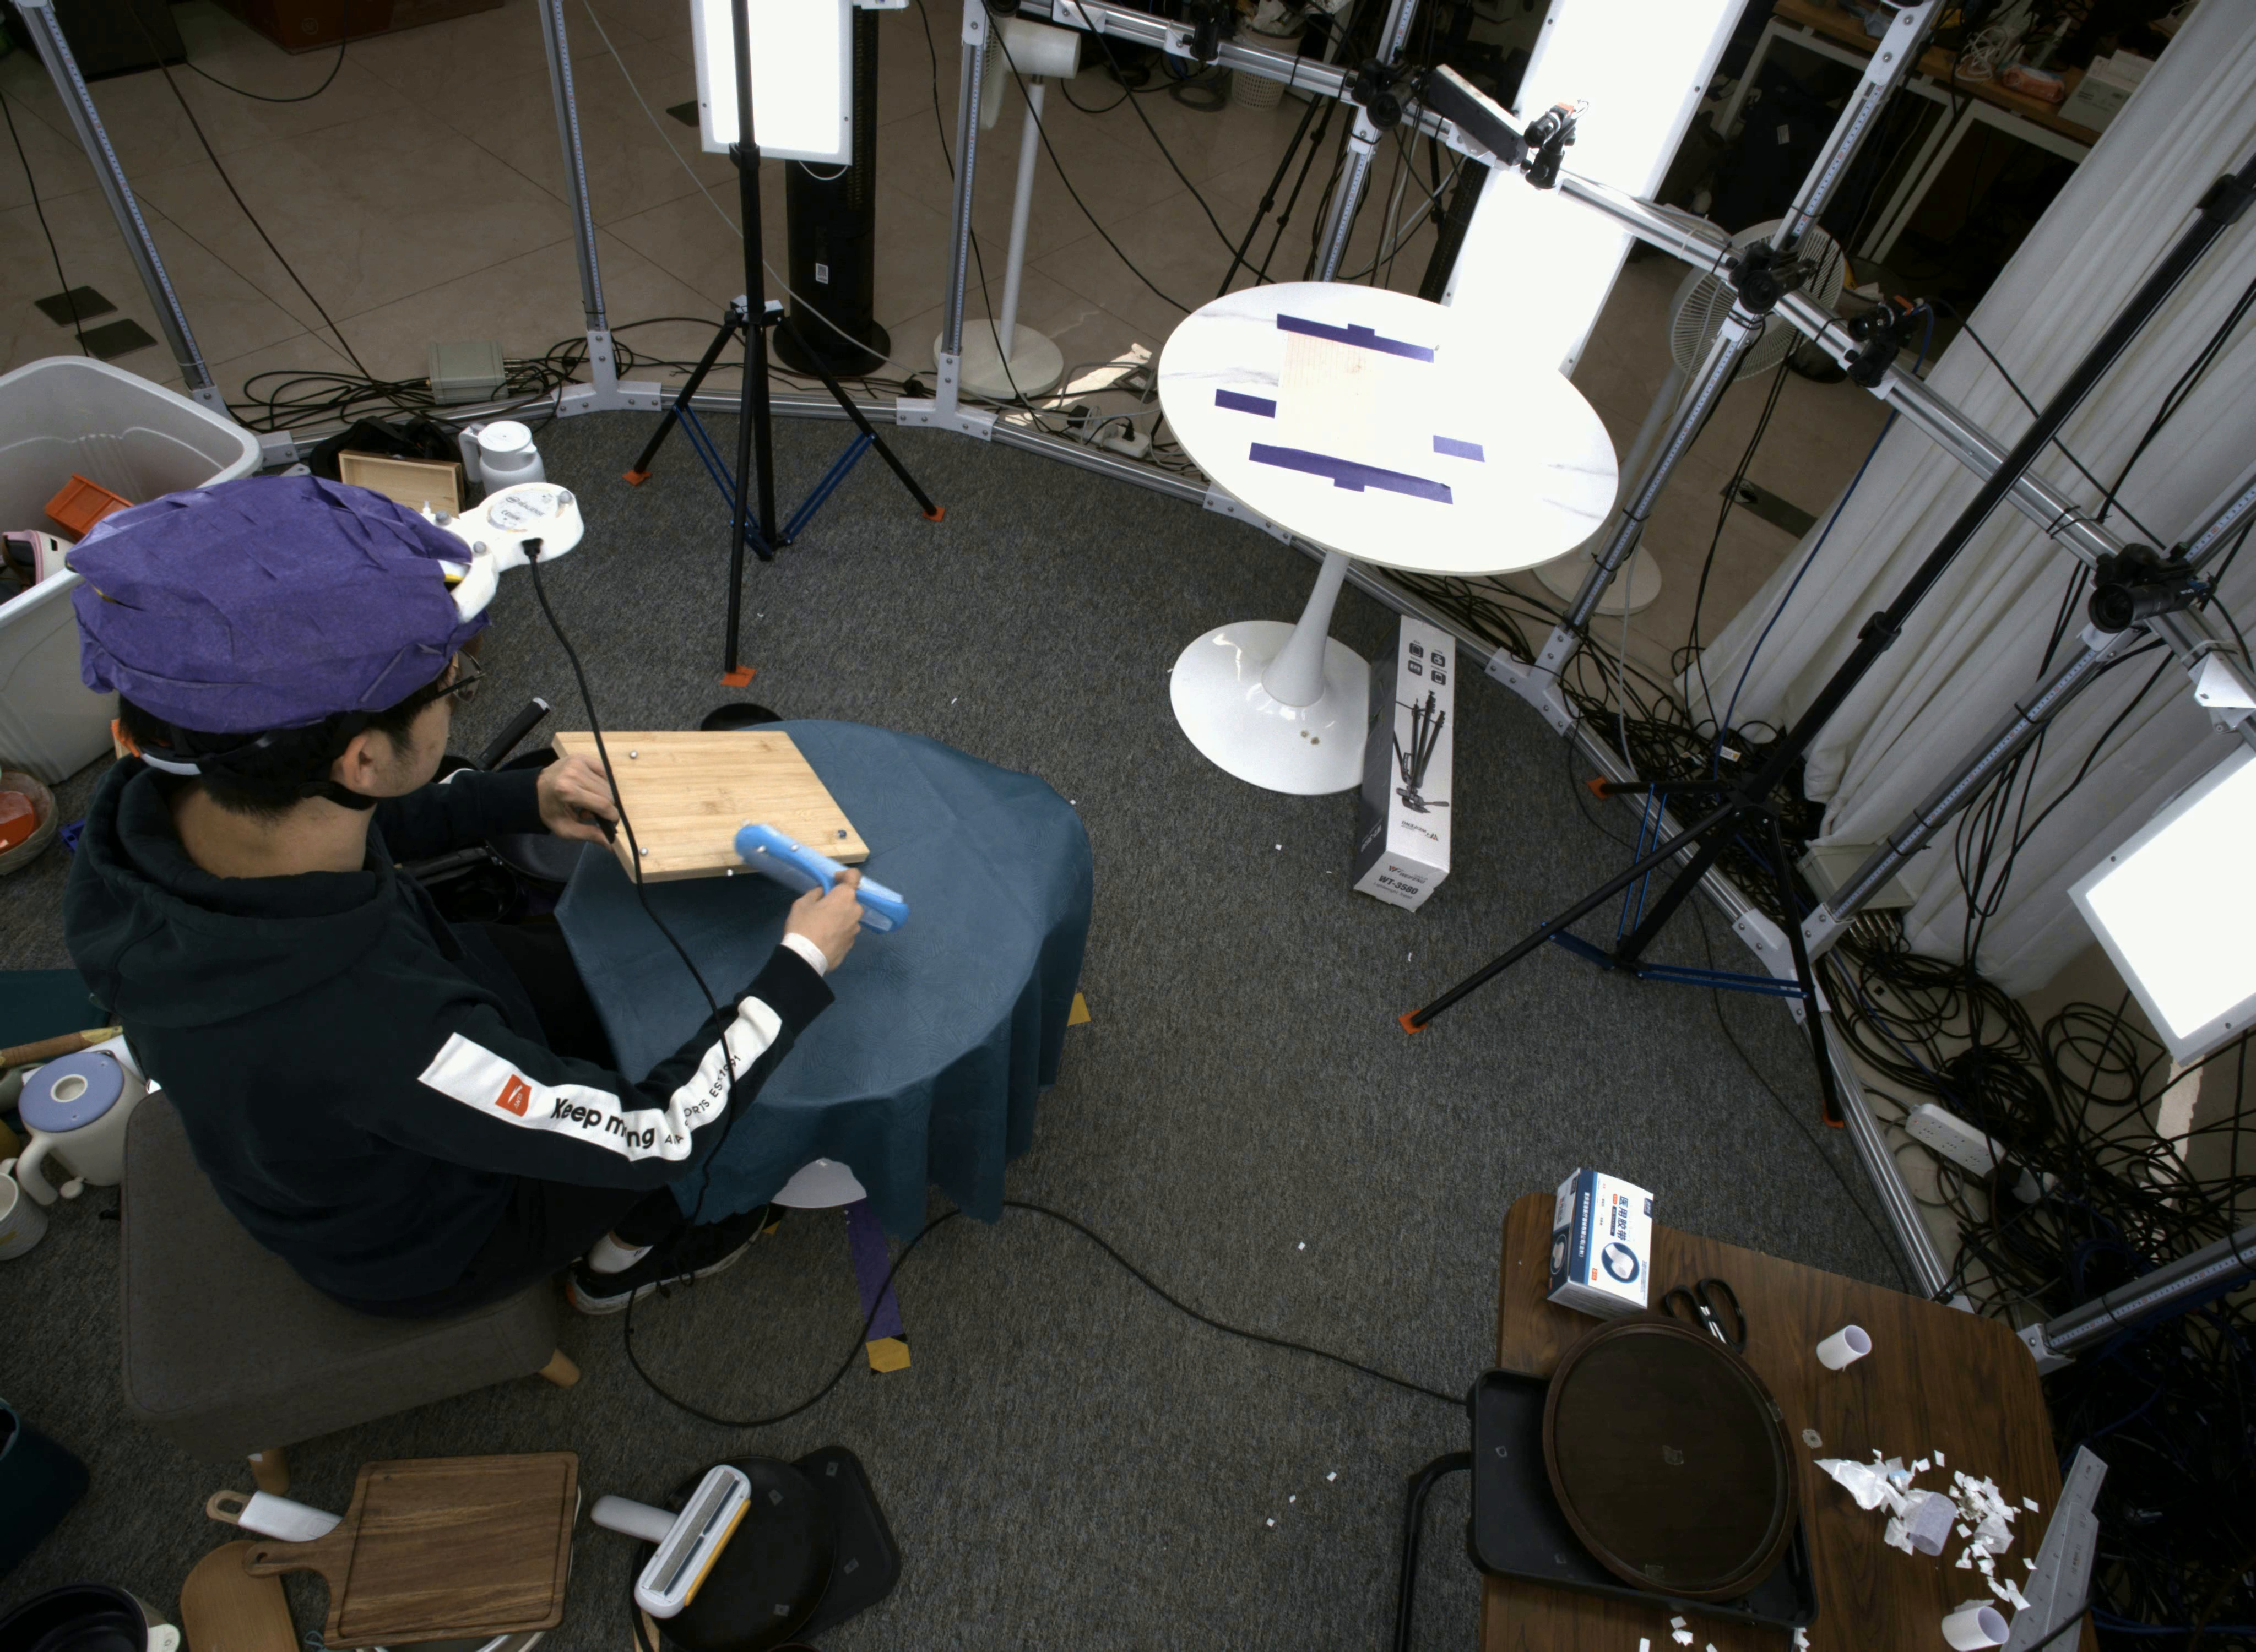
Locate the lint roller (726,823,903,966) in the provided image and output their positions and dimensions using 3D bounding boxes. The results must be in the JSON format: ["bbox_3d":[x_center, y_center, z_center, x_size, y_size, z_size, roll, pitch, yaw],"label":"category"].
[{"bbox_3d":[-0.359,0.088,1.505,0.235,0.068,0.174,31,16,-30],"label":"lint roller"}]

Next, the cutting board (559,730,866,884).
[{"bbox_3d":[-0.521,-0.034,1.617,0.355,0.024,0.245,-6,51,-53],"label":"cutting board"}]
